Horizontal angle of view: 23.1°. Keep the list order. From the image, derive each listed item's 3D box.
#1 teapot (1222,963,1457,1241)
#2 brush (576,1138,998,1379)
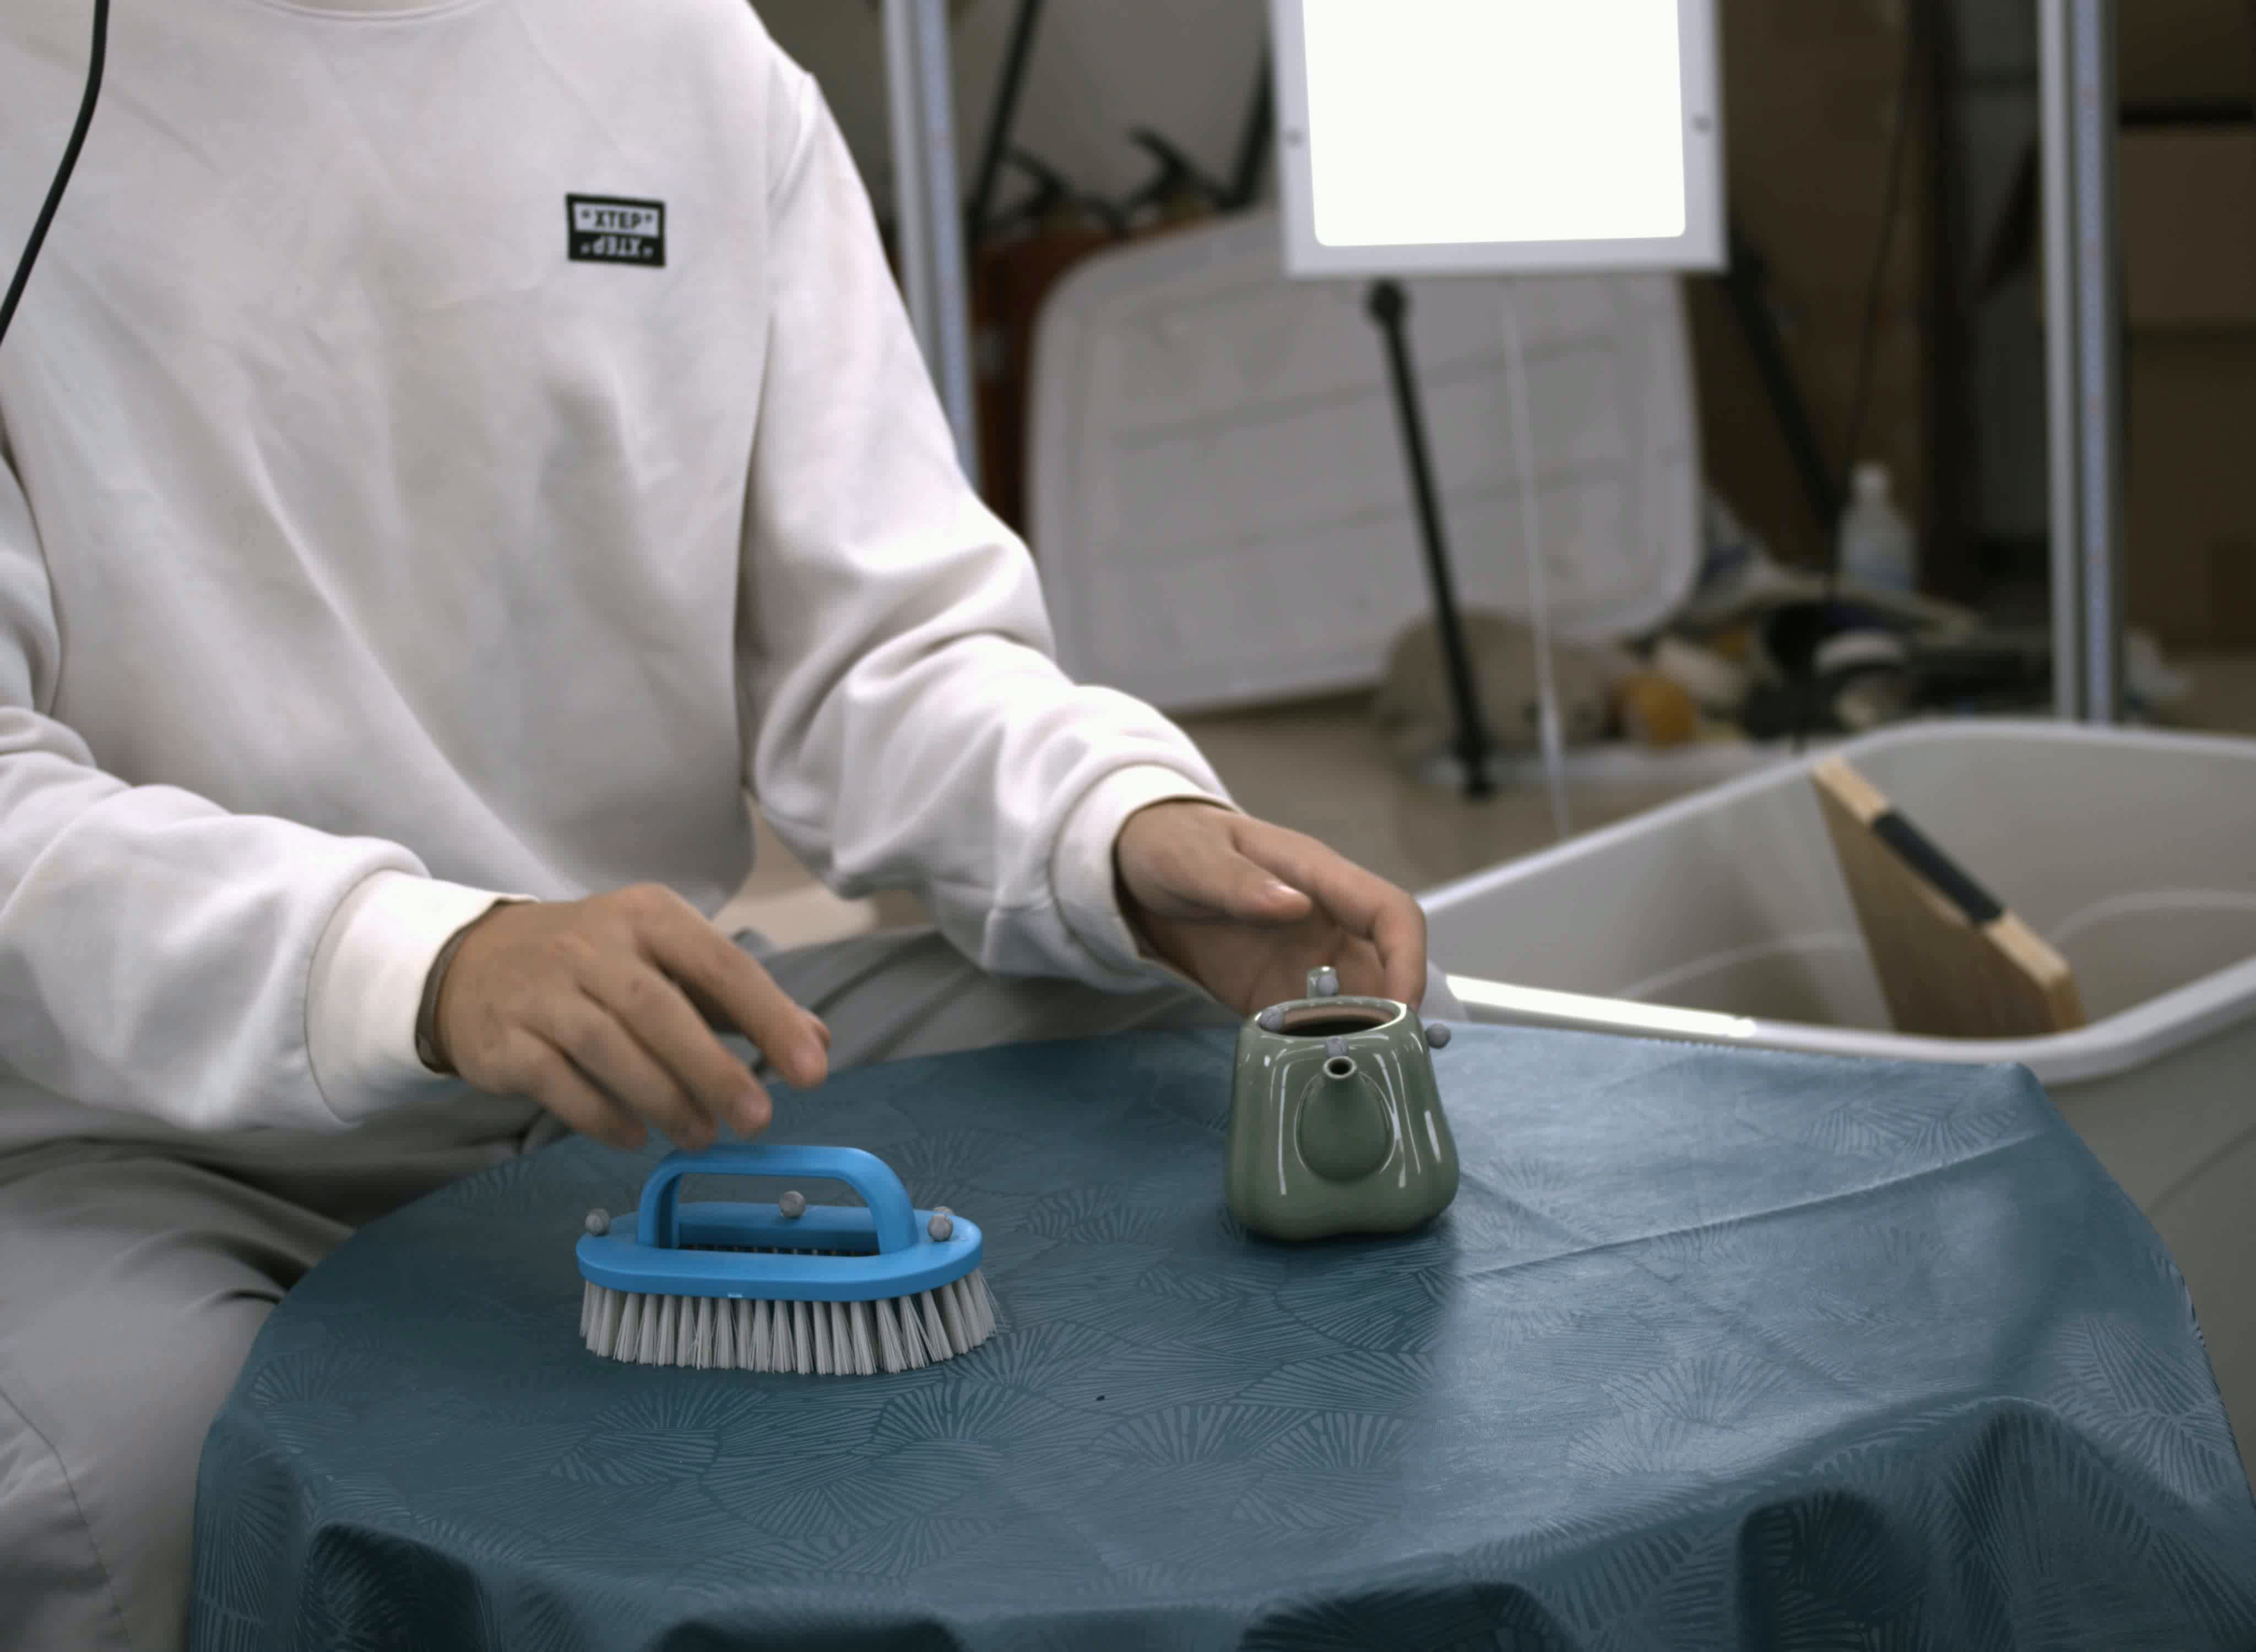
[{"bbox_3d":[0.070,0.095,1.847,0.079,0.075,0.132,-4,13,1],"label":"teapot"},{"bbox_3d":[-0.114,0.132,1.778,0.144,0.064,0.083,0,19,24],"label":"brush"}]
